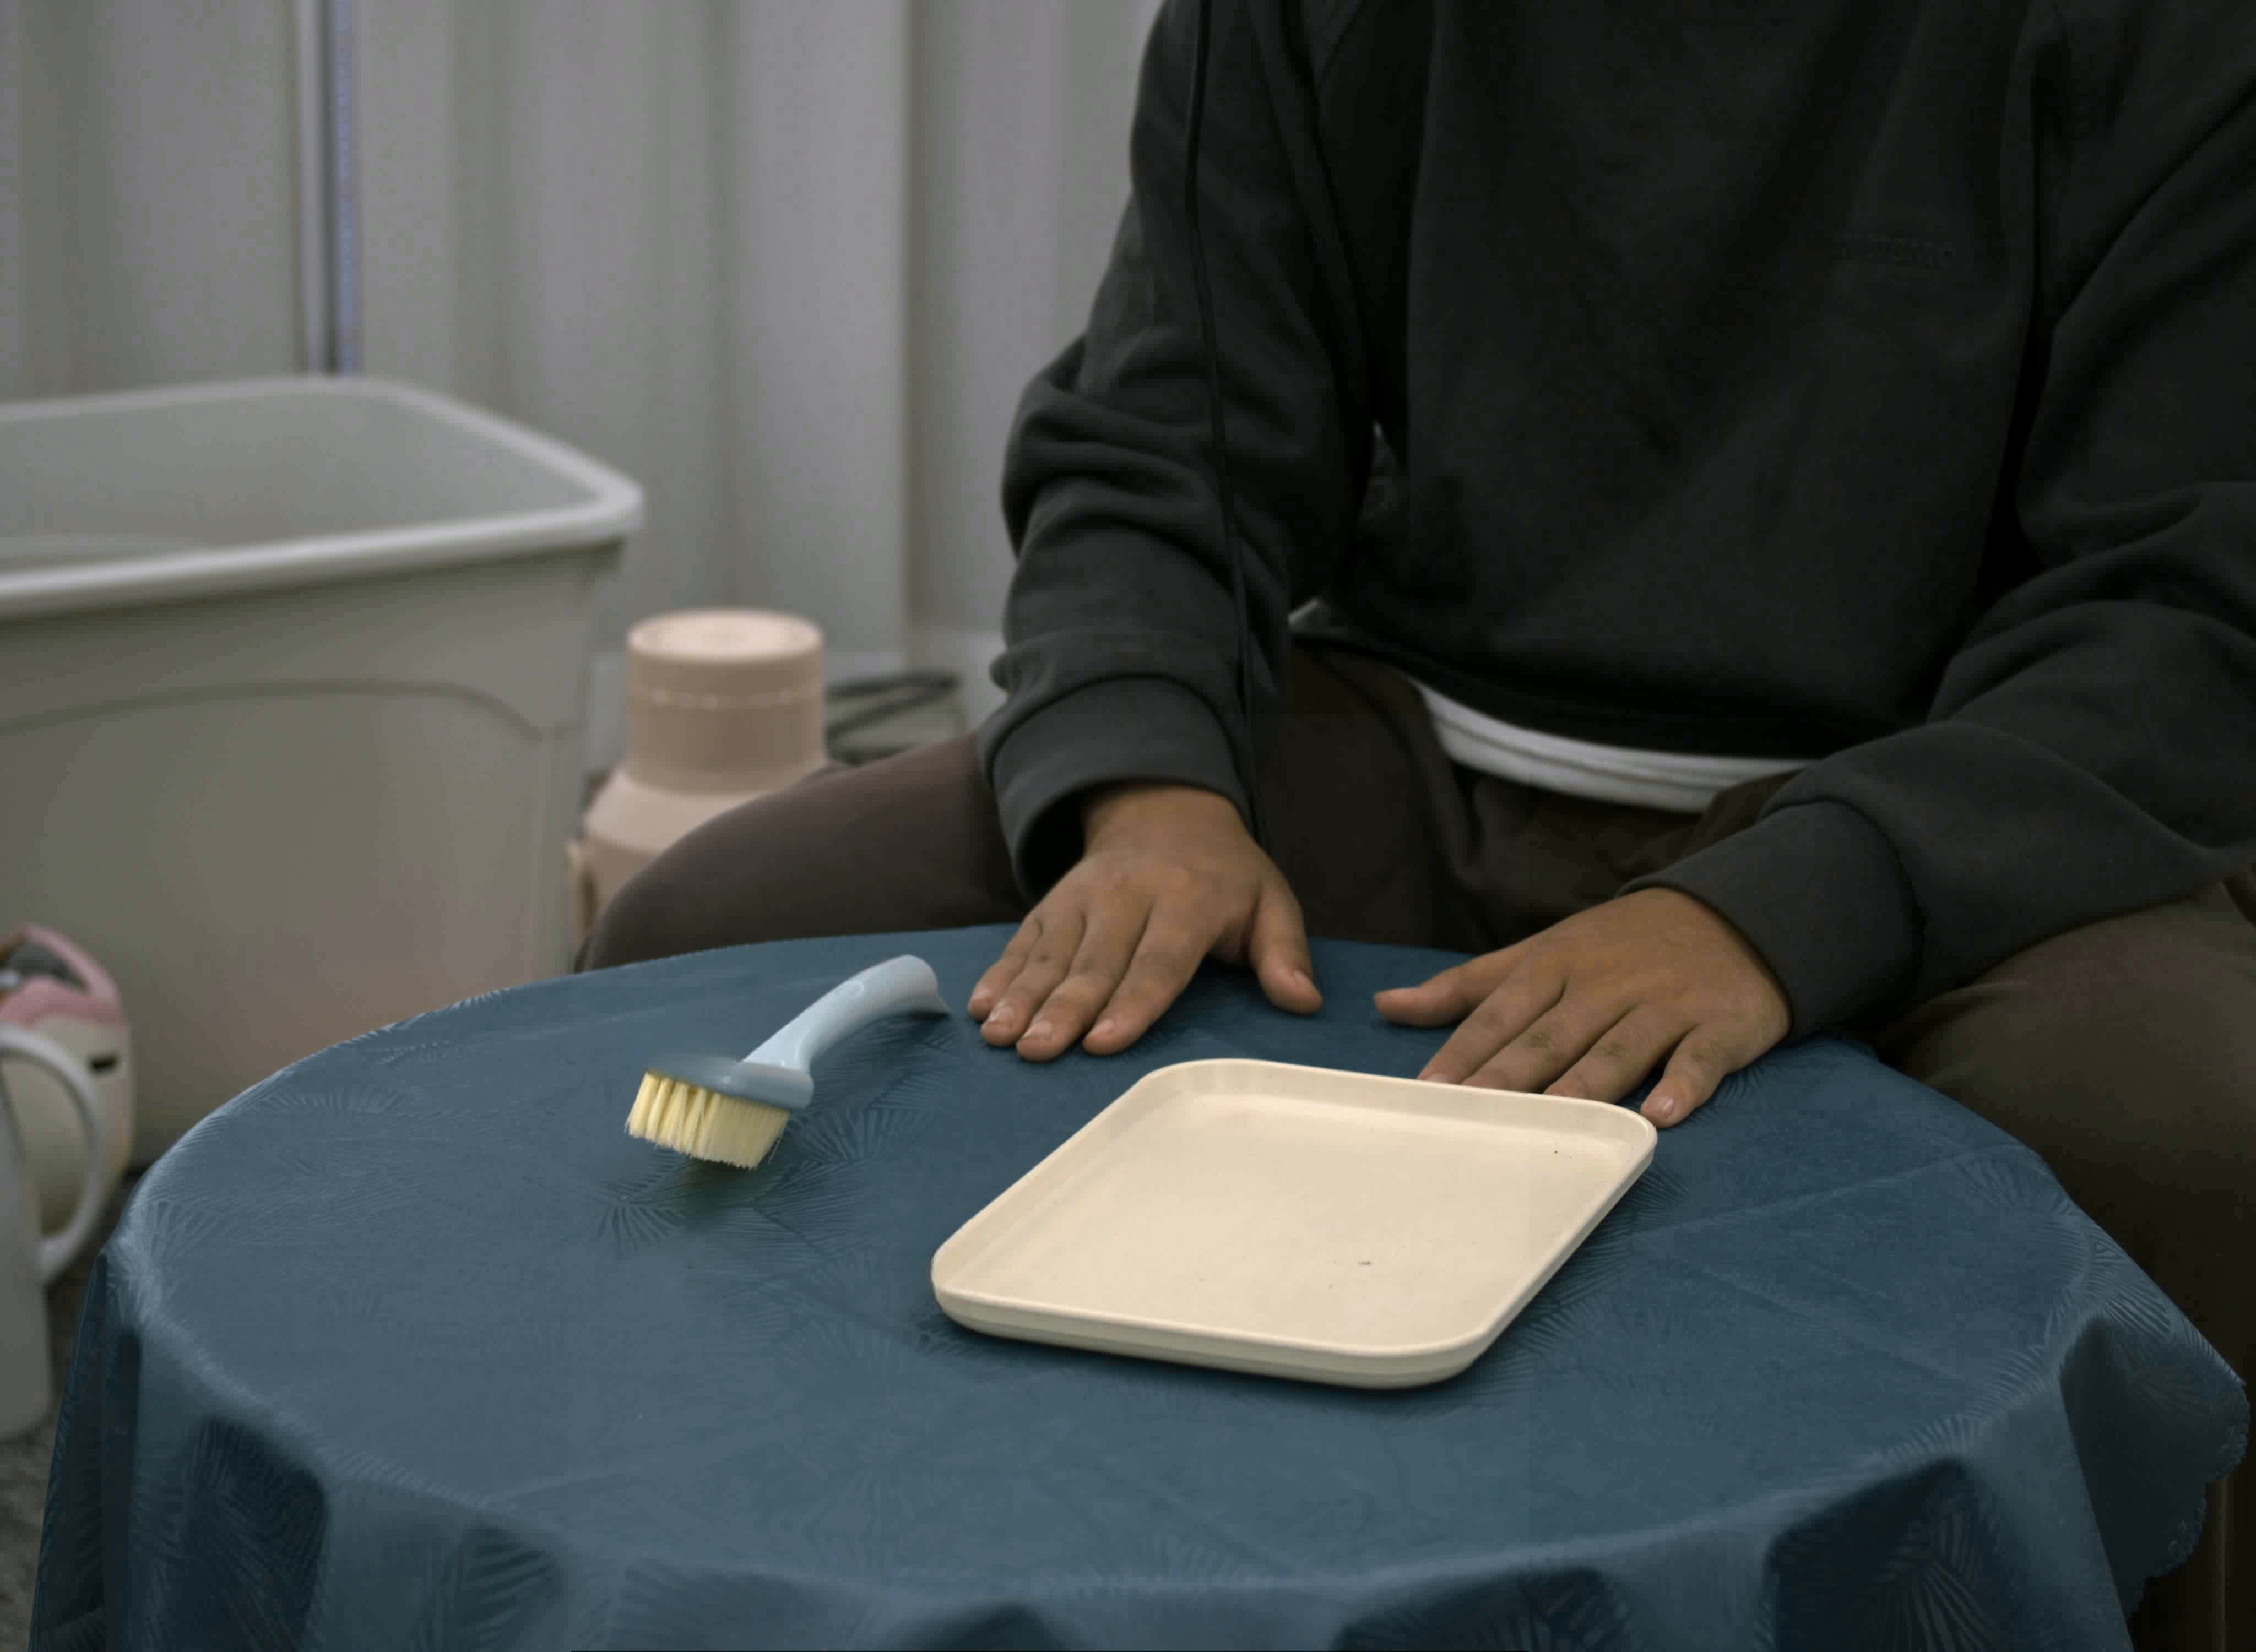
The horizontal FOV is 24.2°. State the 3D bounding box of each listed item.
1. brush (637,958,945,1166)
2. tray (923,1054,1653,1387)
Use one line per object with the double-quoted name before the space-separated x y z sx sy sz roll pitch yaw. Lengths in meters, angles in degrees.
"brush" -0.106 0.076 1.694 0.037 0.050 0.229 18 11 14
"tray" 0.052 0.117 1.579 0.169 0.017 0.240 7 16 19
